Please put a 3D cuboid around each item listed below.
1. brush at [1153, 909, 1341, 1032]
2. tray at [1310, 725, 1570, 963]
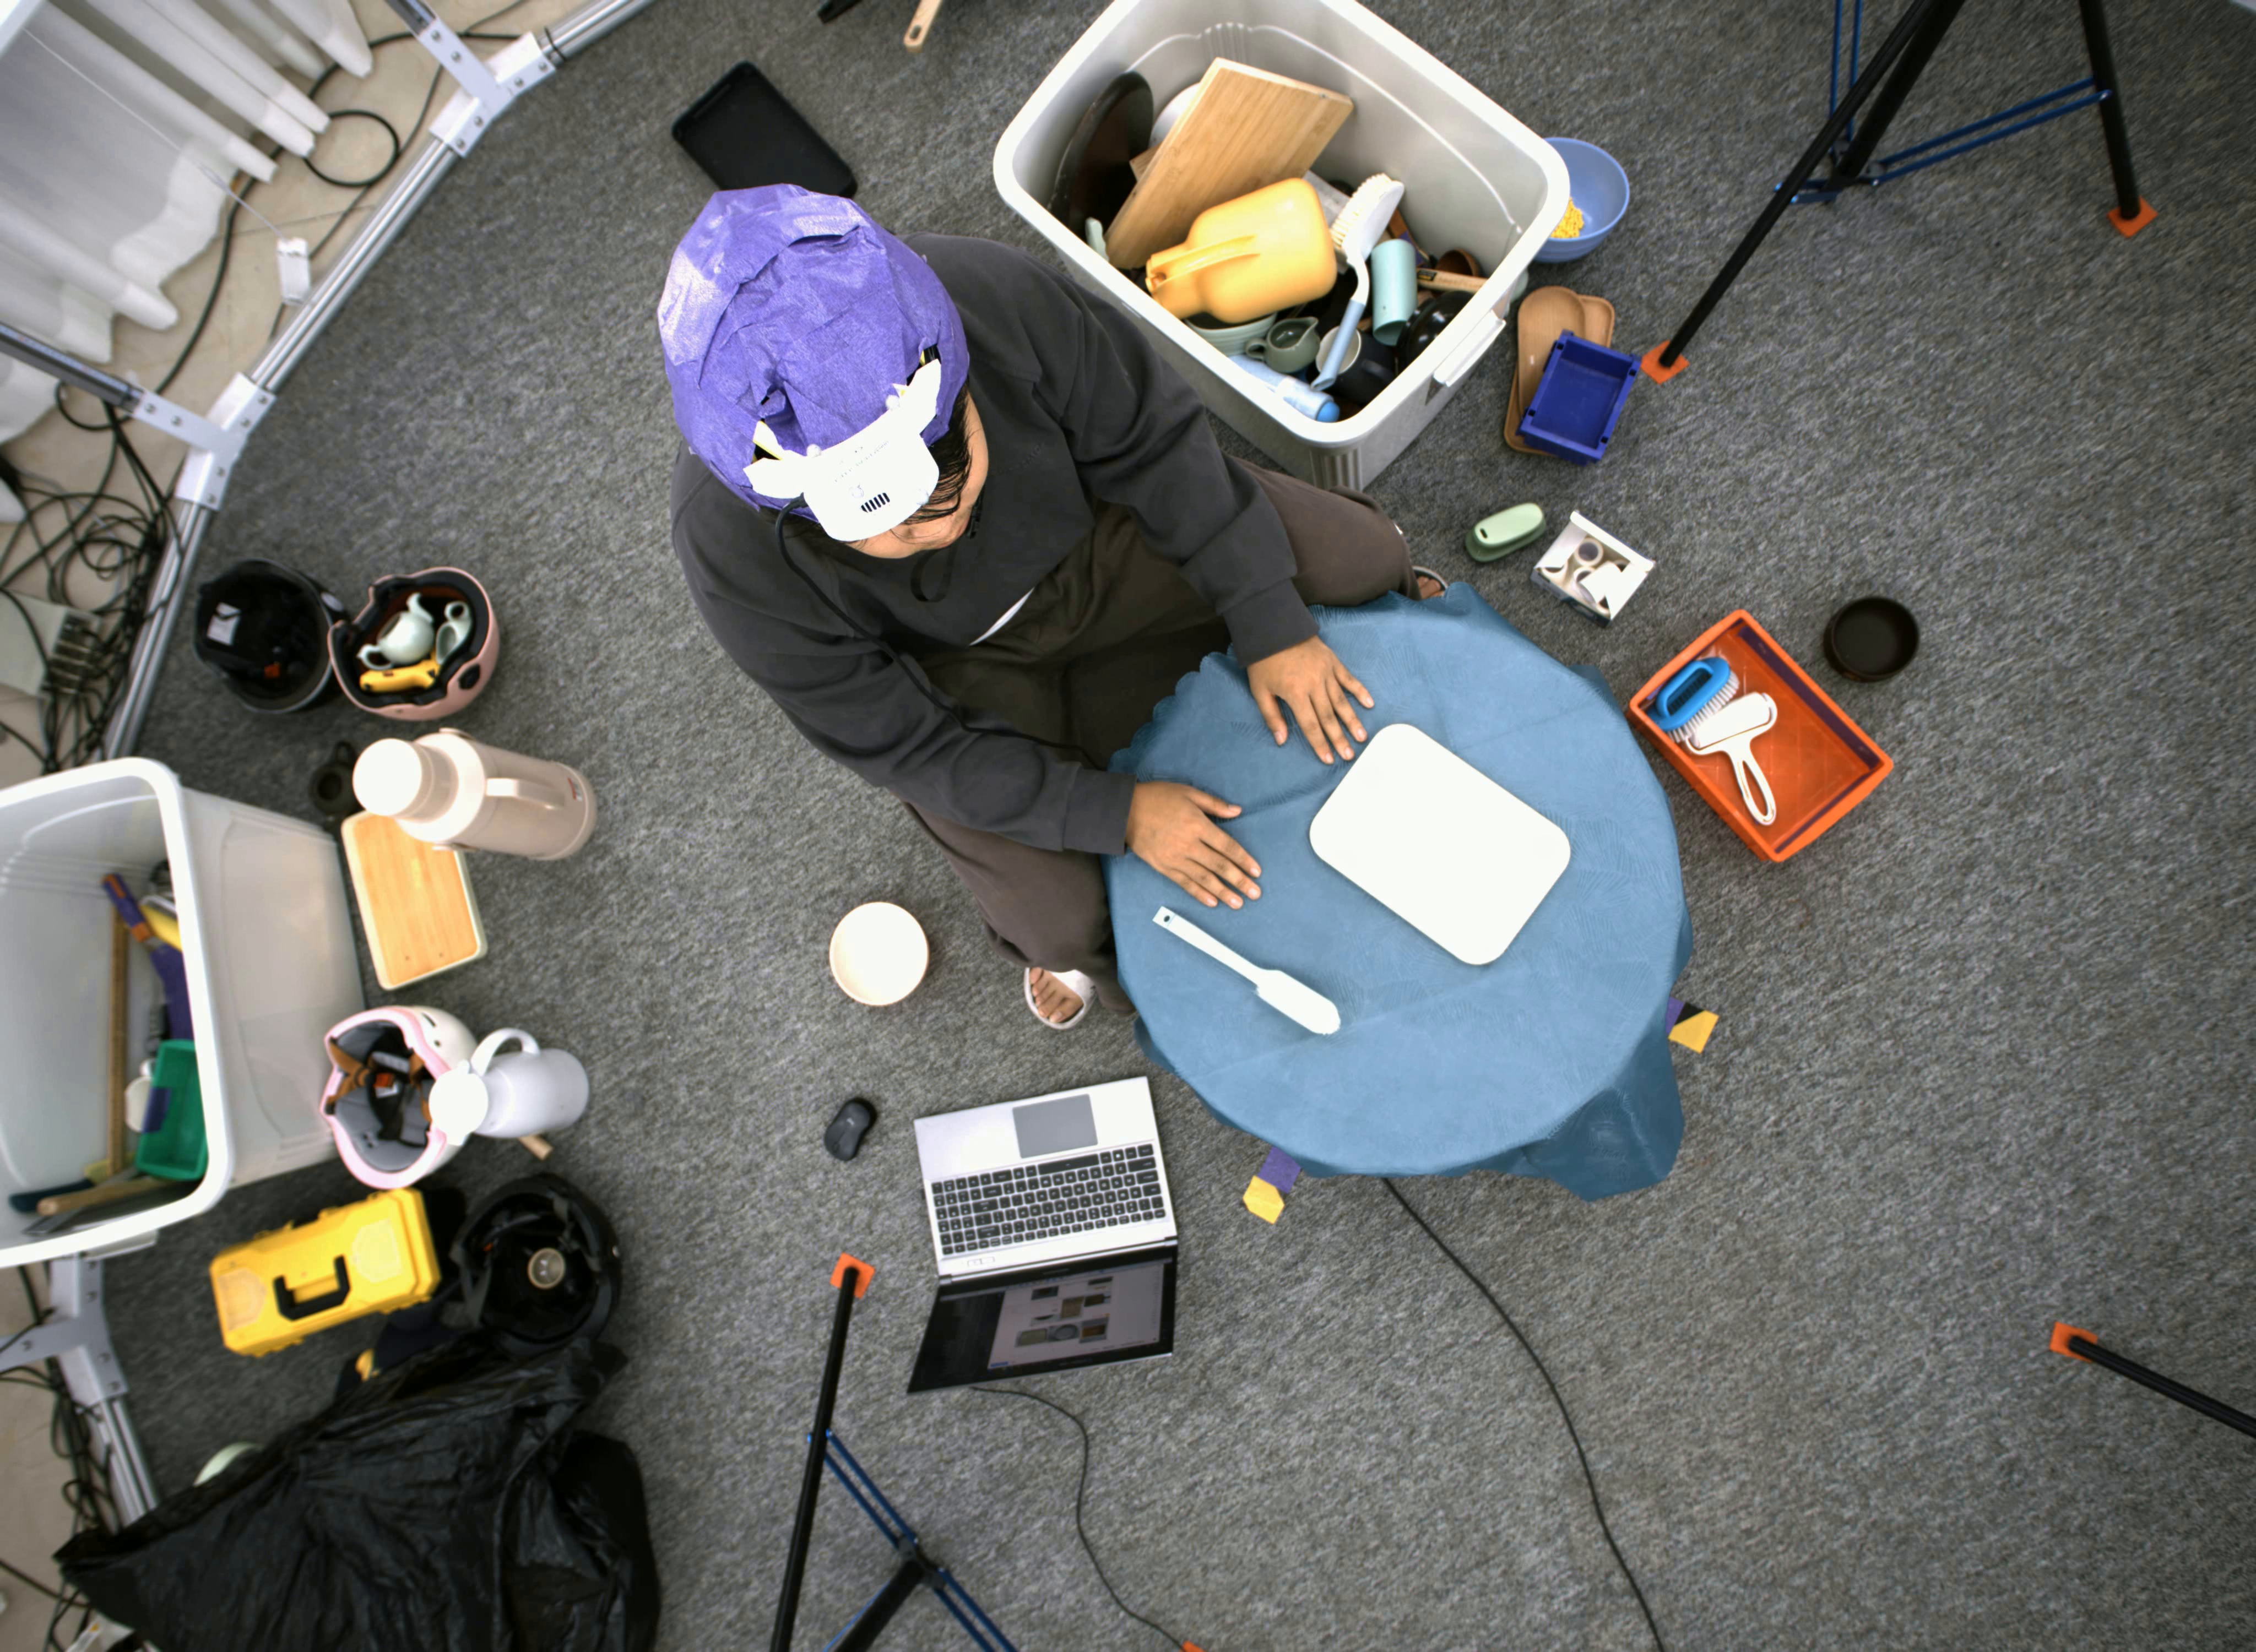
[{"bbox_3d":[0.123,0.151,1.469,0.228,0.050,0.037,29,84,20],"label":"brush"},{"bbox_3d":[0.325,0.016,1.444,0.239,0.017,0.171,37,93,11],"label":"tray"}]
